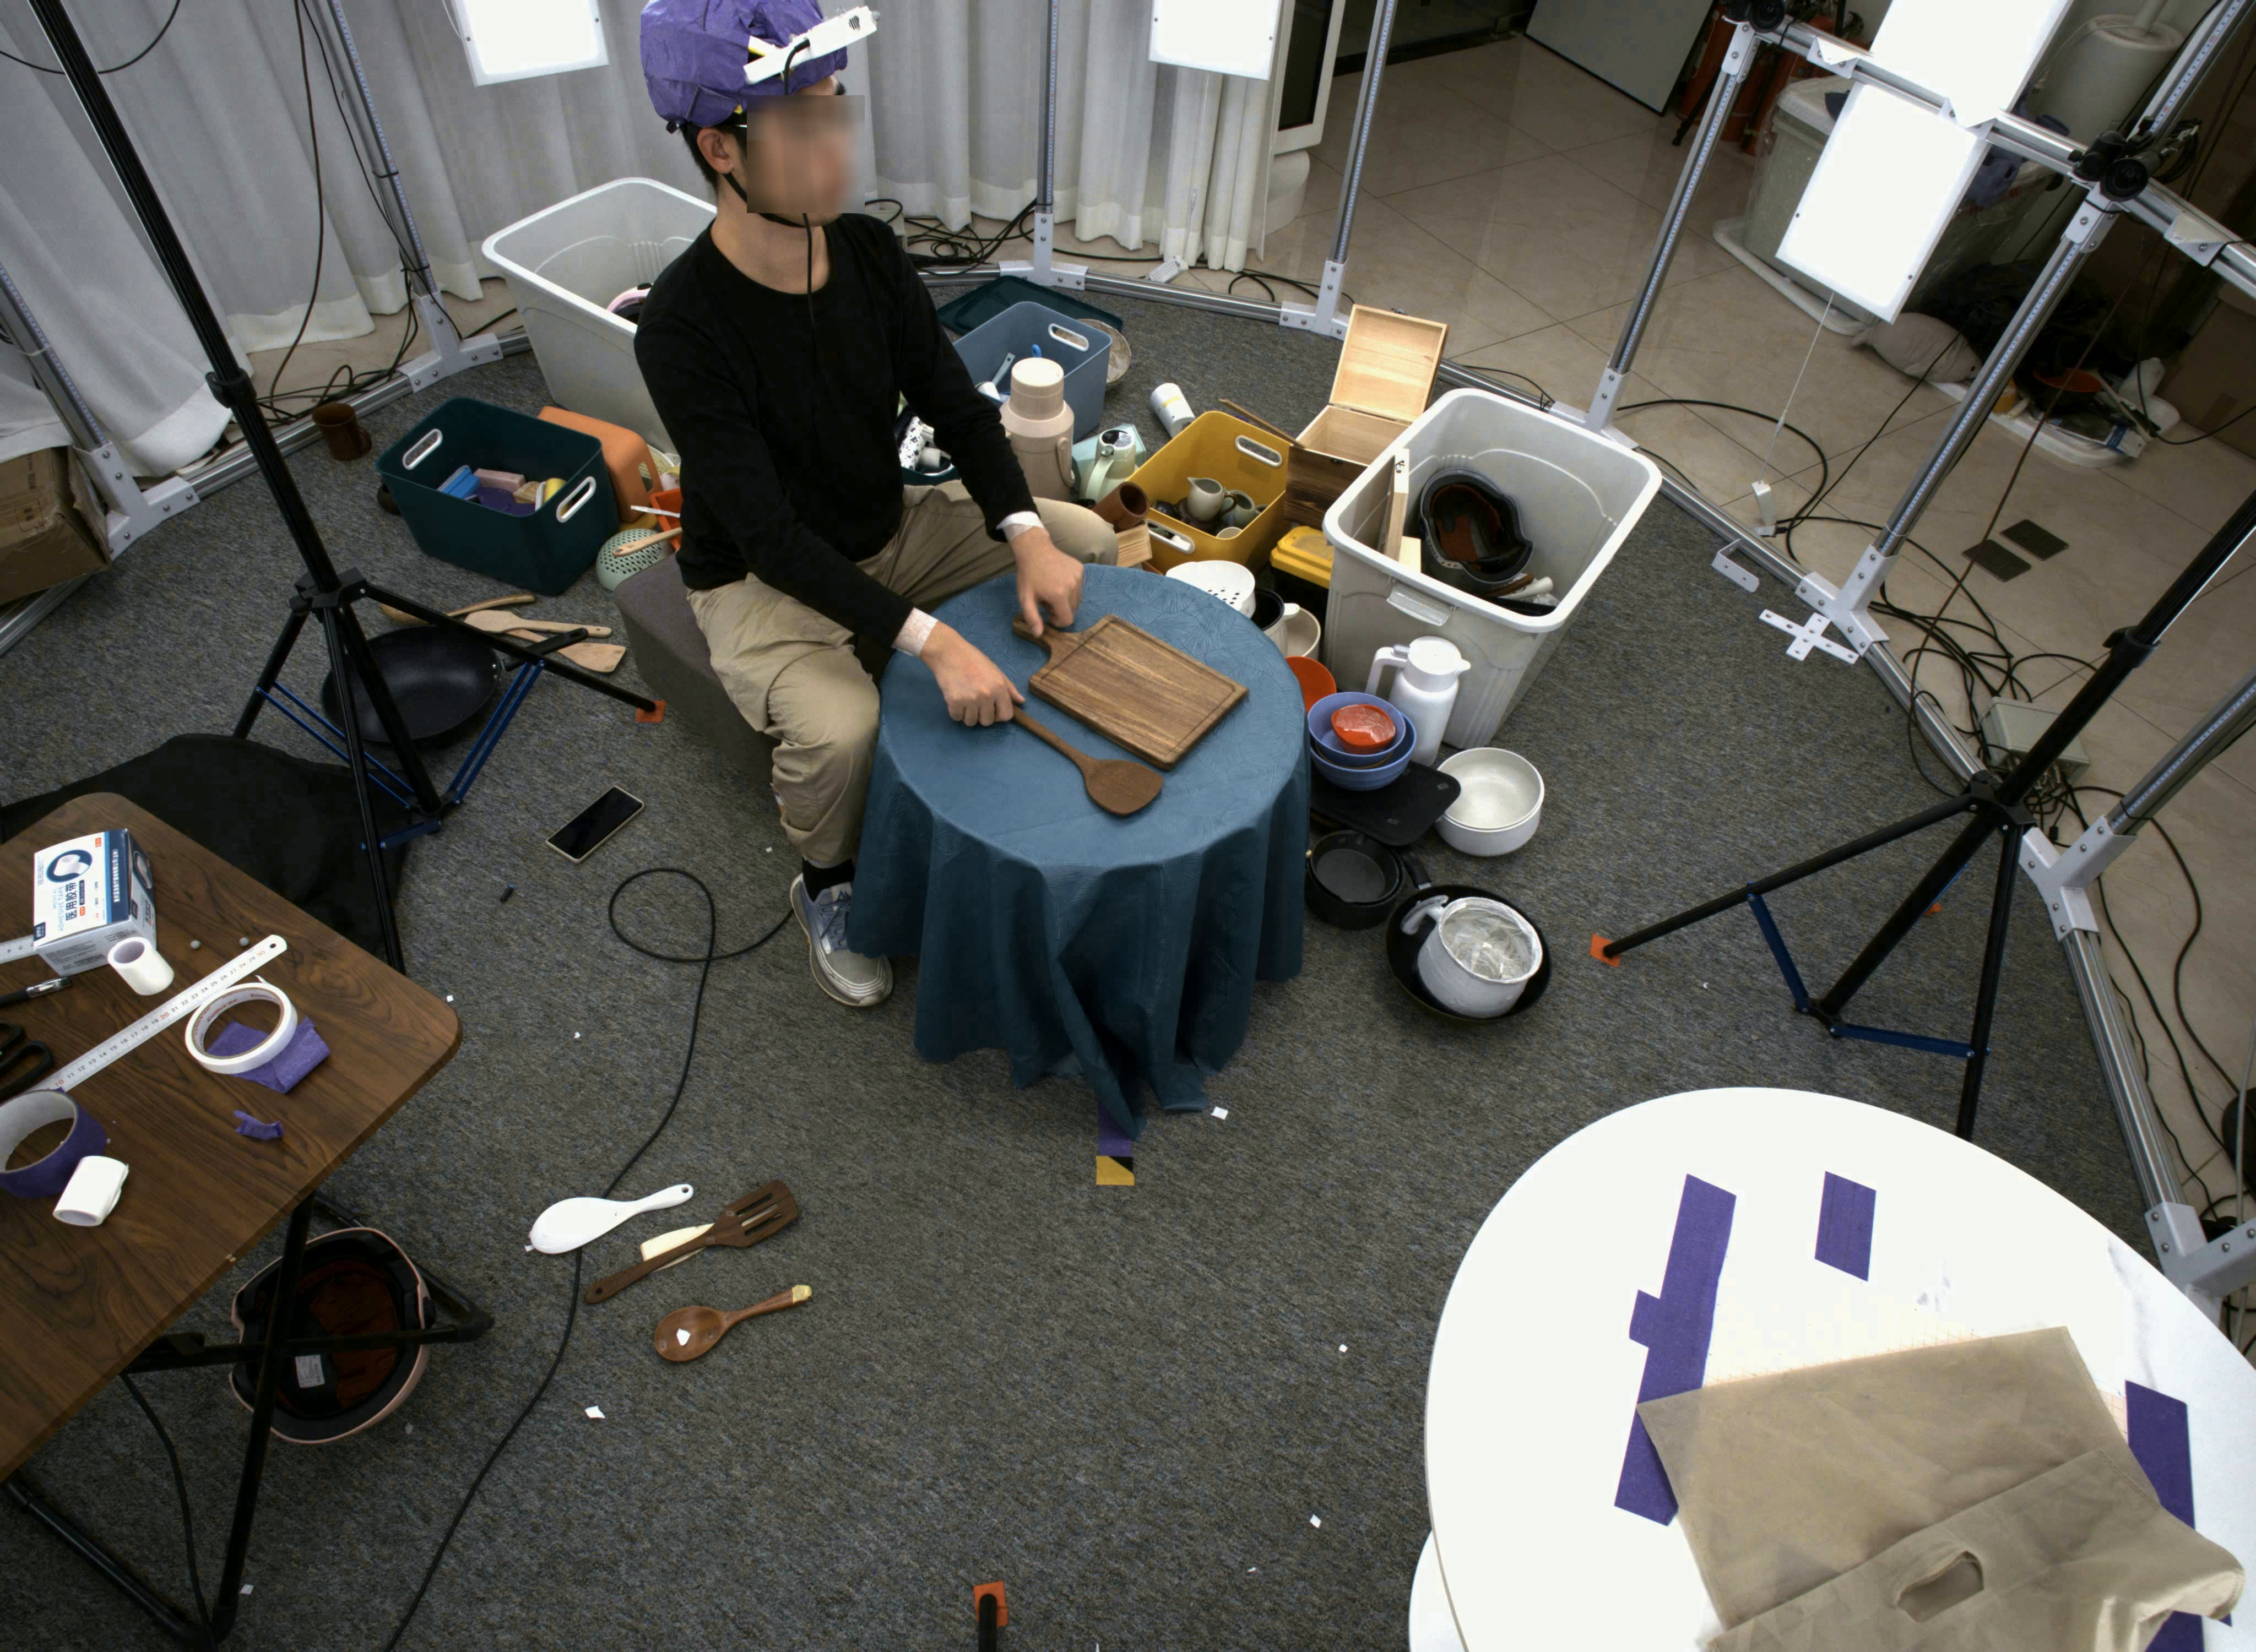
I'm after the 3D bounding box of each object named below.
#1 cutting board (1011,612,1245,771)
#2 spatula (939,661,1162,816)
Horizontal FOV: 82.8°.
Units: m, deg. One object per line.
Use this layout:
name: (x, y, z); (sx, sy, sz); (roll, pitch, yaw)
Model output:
cutting board: (-0.026, -0.221, 1.847); (0.356, 0.022, 0.203); (31, 54, 21)
spatula: (-0.120, -0.131, 1.764); (0.391, 0.015, 0.097); (35, 55, 23)
